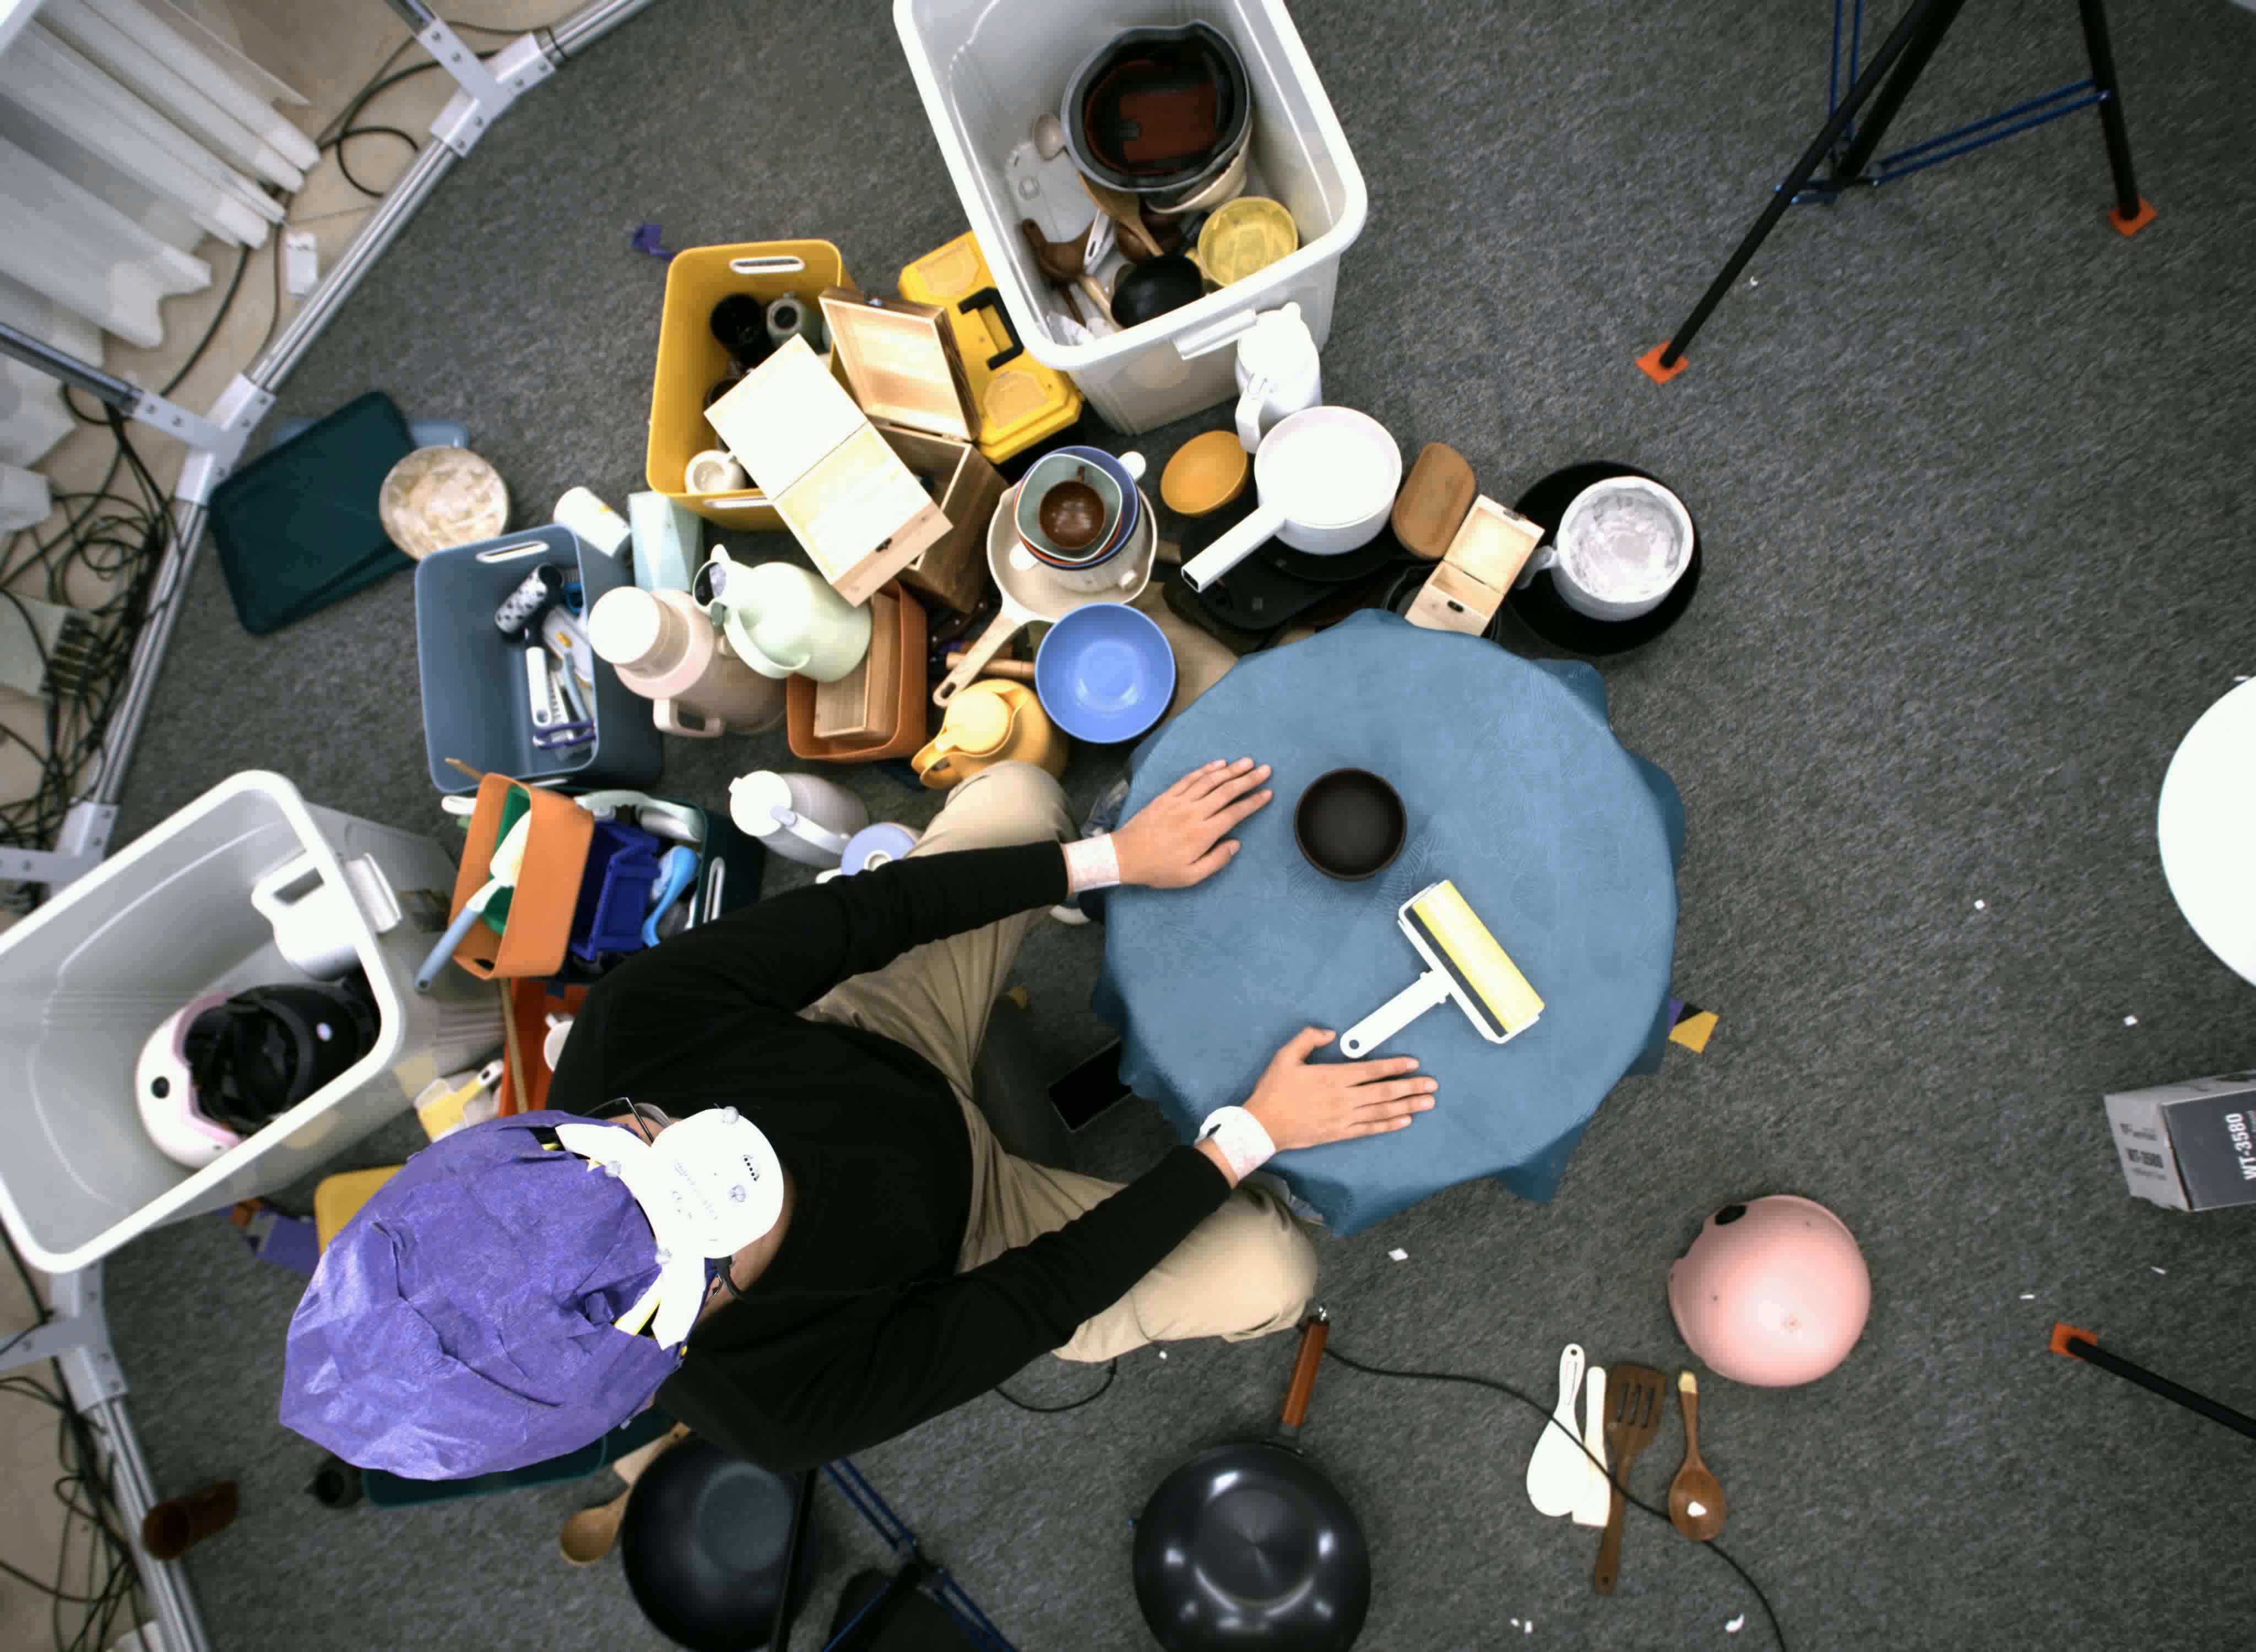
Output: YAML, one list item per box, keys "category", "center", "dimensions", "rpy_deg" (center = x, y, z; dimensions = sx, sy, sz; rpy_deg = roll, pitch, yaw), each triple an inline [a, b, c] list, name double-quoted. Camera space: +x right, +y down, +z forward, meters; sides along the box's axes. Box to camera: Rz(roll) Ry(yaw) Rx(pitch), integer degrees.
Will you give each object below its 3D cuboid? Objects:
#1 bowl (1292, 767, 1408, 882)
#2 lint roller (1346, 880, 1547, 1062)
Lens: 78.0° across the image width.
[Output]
- category: "bowl"
  center: [0.230, 0.000, 1.434]
  dimensions: [0.118, 0.070, 0.117]
  rpy_deg: [-1, 85, 9]
- category: "lint roller"
  center: [0.304, 0.176, 1.421]
  dimensions: [0.192, 0.051, 0.173]
  rpy_deg: [-38, 81, 2]
